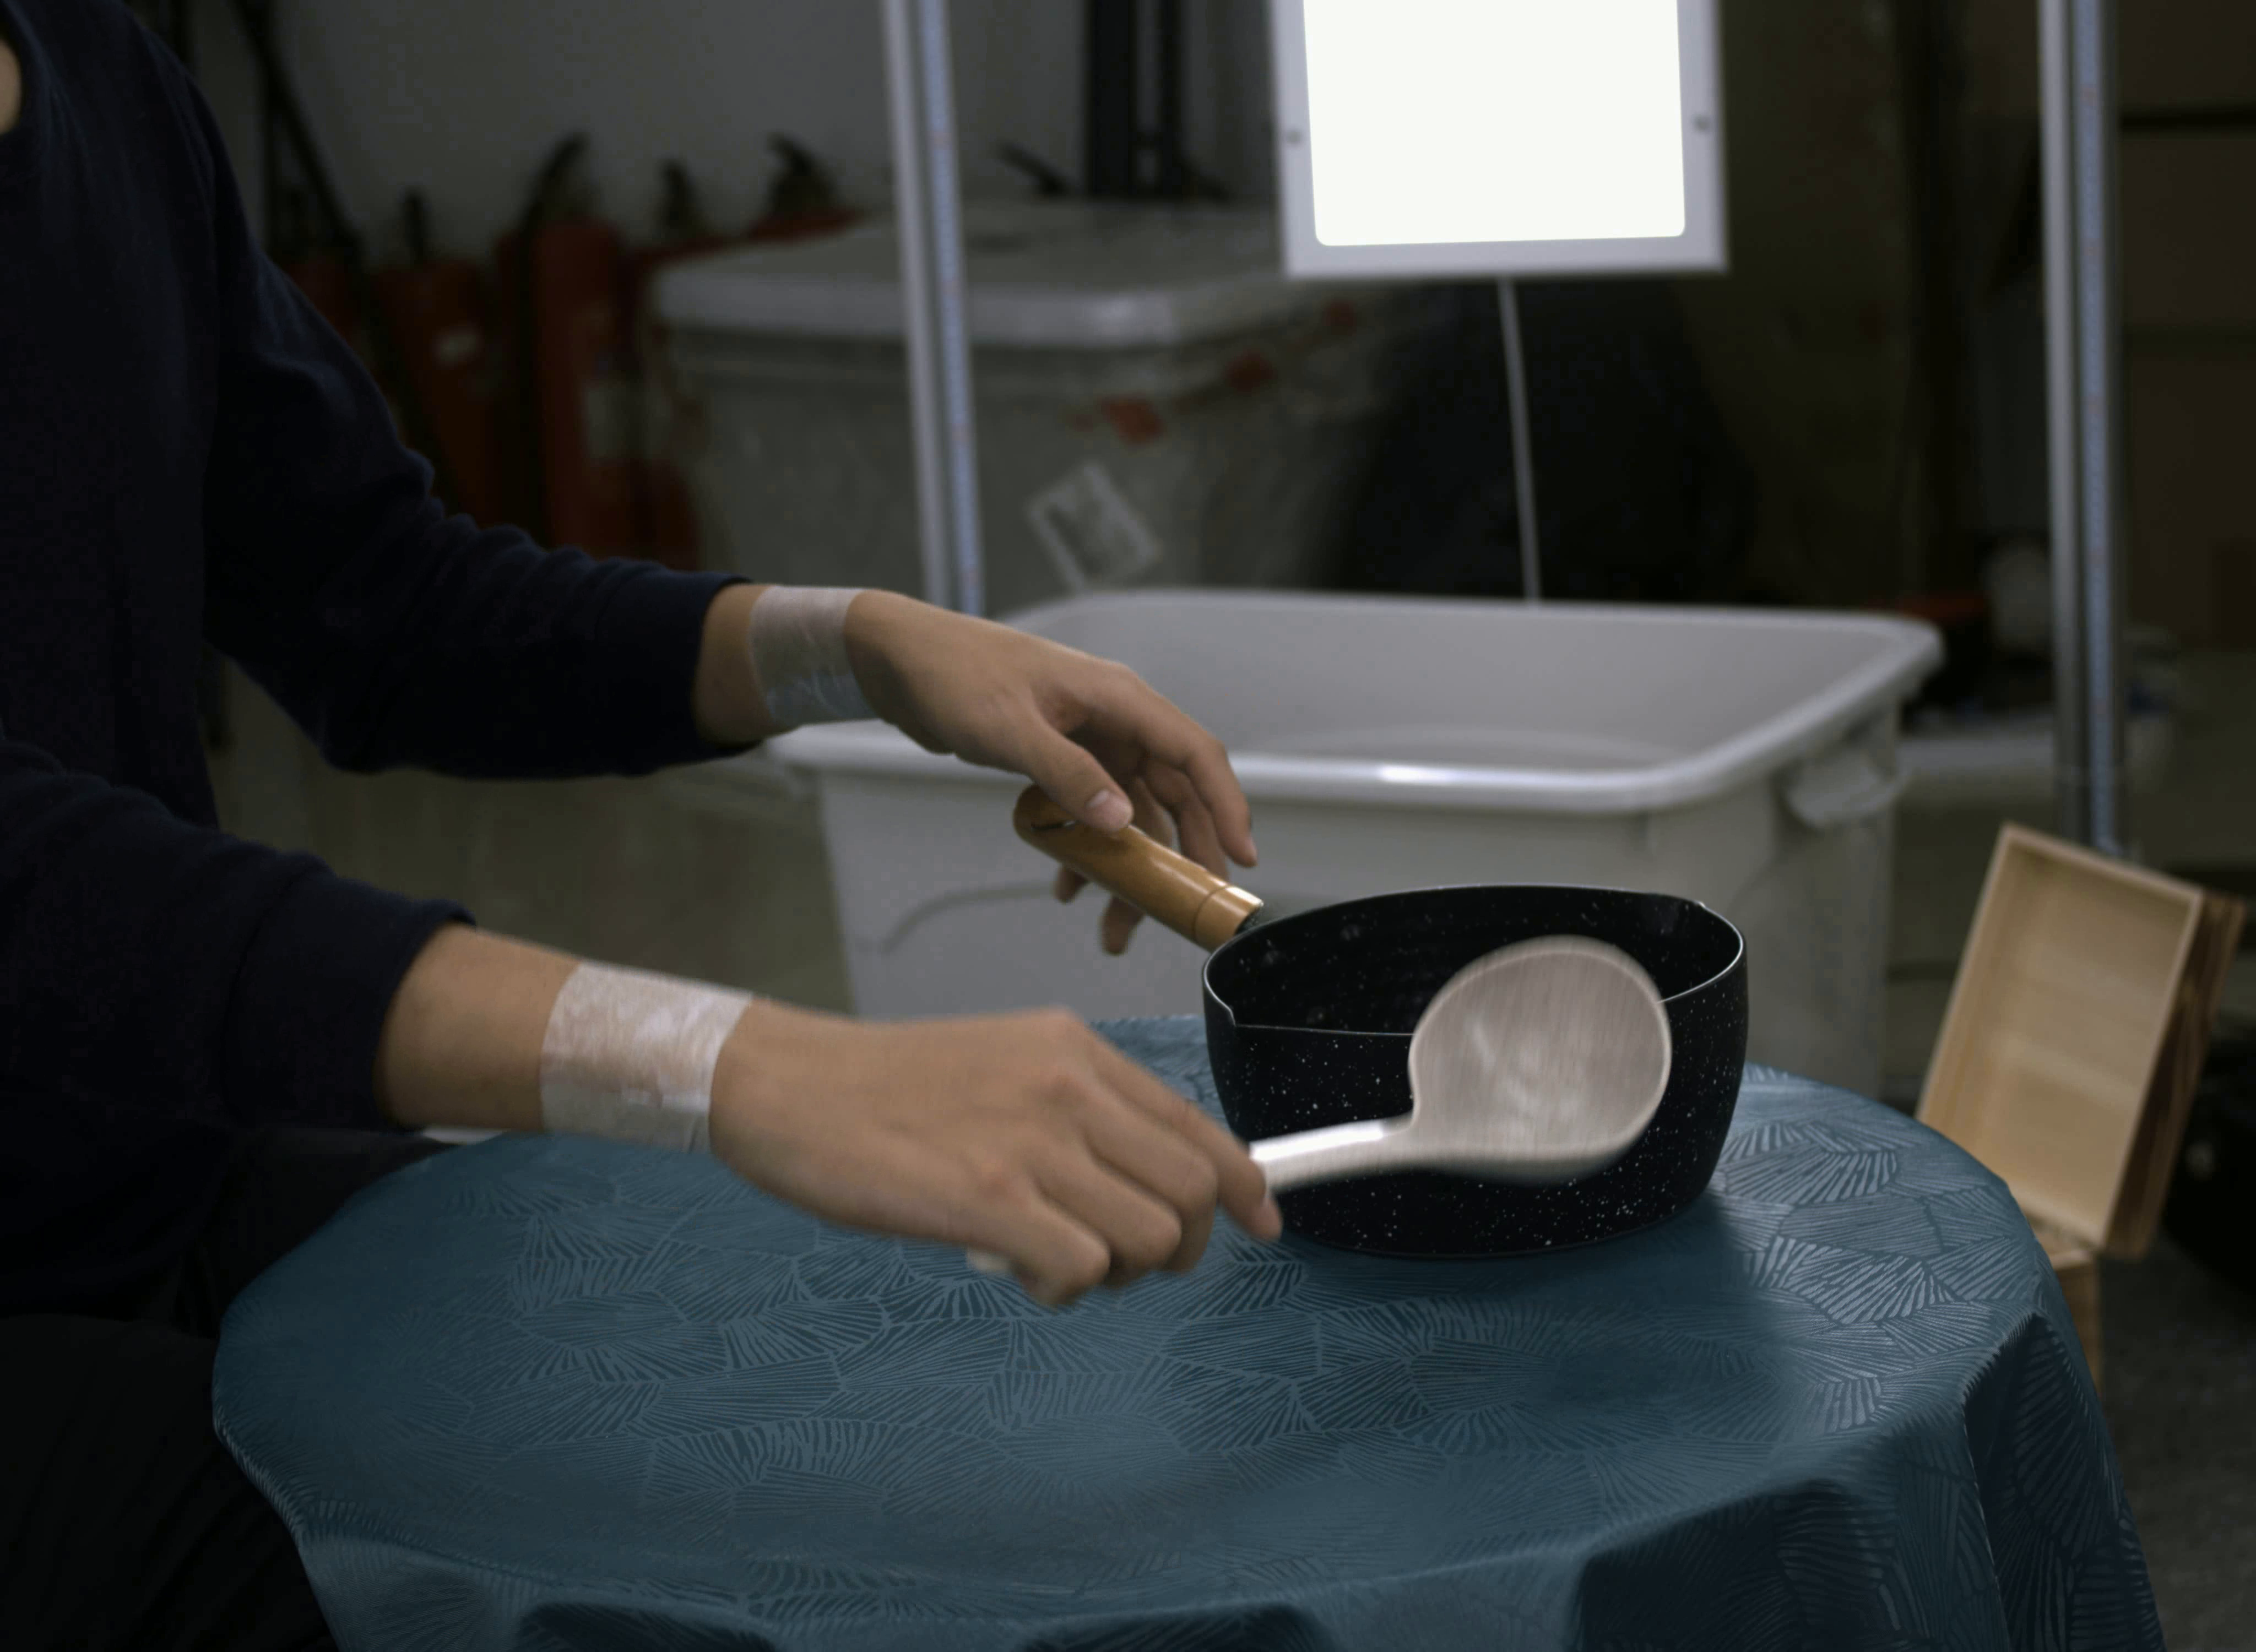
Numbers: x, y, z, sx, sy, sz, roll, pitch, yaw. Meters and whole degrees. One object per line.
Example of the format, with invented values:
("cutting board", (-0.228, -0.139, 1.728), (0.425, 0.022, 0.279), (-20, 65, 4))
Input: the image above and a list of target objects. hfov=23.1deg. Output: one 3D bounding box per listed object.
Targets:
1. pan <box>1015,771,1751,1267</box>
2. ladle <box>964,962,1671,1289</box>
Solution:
("pan", (0.069, 0.060, 1.913), (0.202, 0.108, 0.350), (-16, 19, -34))
("ladle", (0.055, 0.086, 1.609), (0.091, 0.070, 0.268), (30, 23, 37))
